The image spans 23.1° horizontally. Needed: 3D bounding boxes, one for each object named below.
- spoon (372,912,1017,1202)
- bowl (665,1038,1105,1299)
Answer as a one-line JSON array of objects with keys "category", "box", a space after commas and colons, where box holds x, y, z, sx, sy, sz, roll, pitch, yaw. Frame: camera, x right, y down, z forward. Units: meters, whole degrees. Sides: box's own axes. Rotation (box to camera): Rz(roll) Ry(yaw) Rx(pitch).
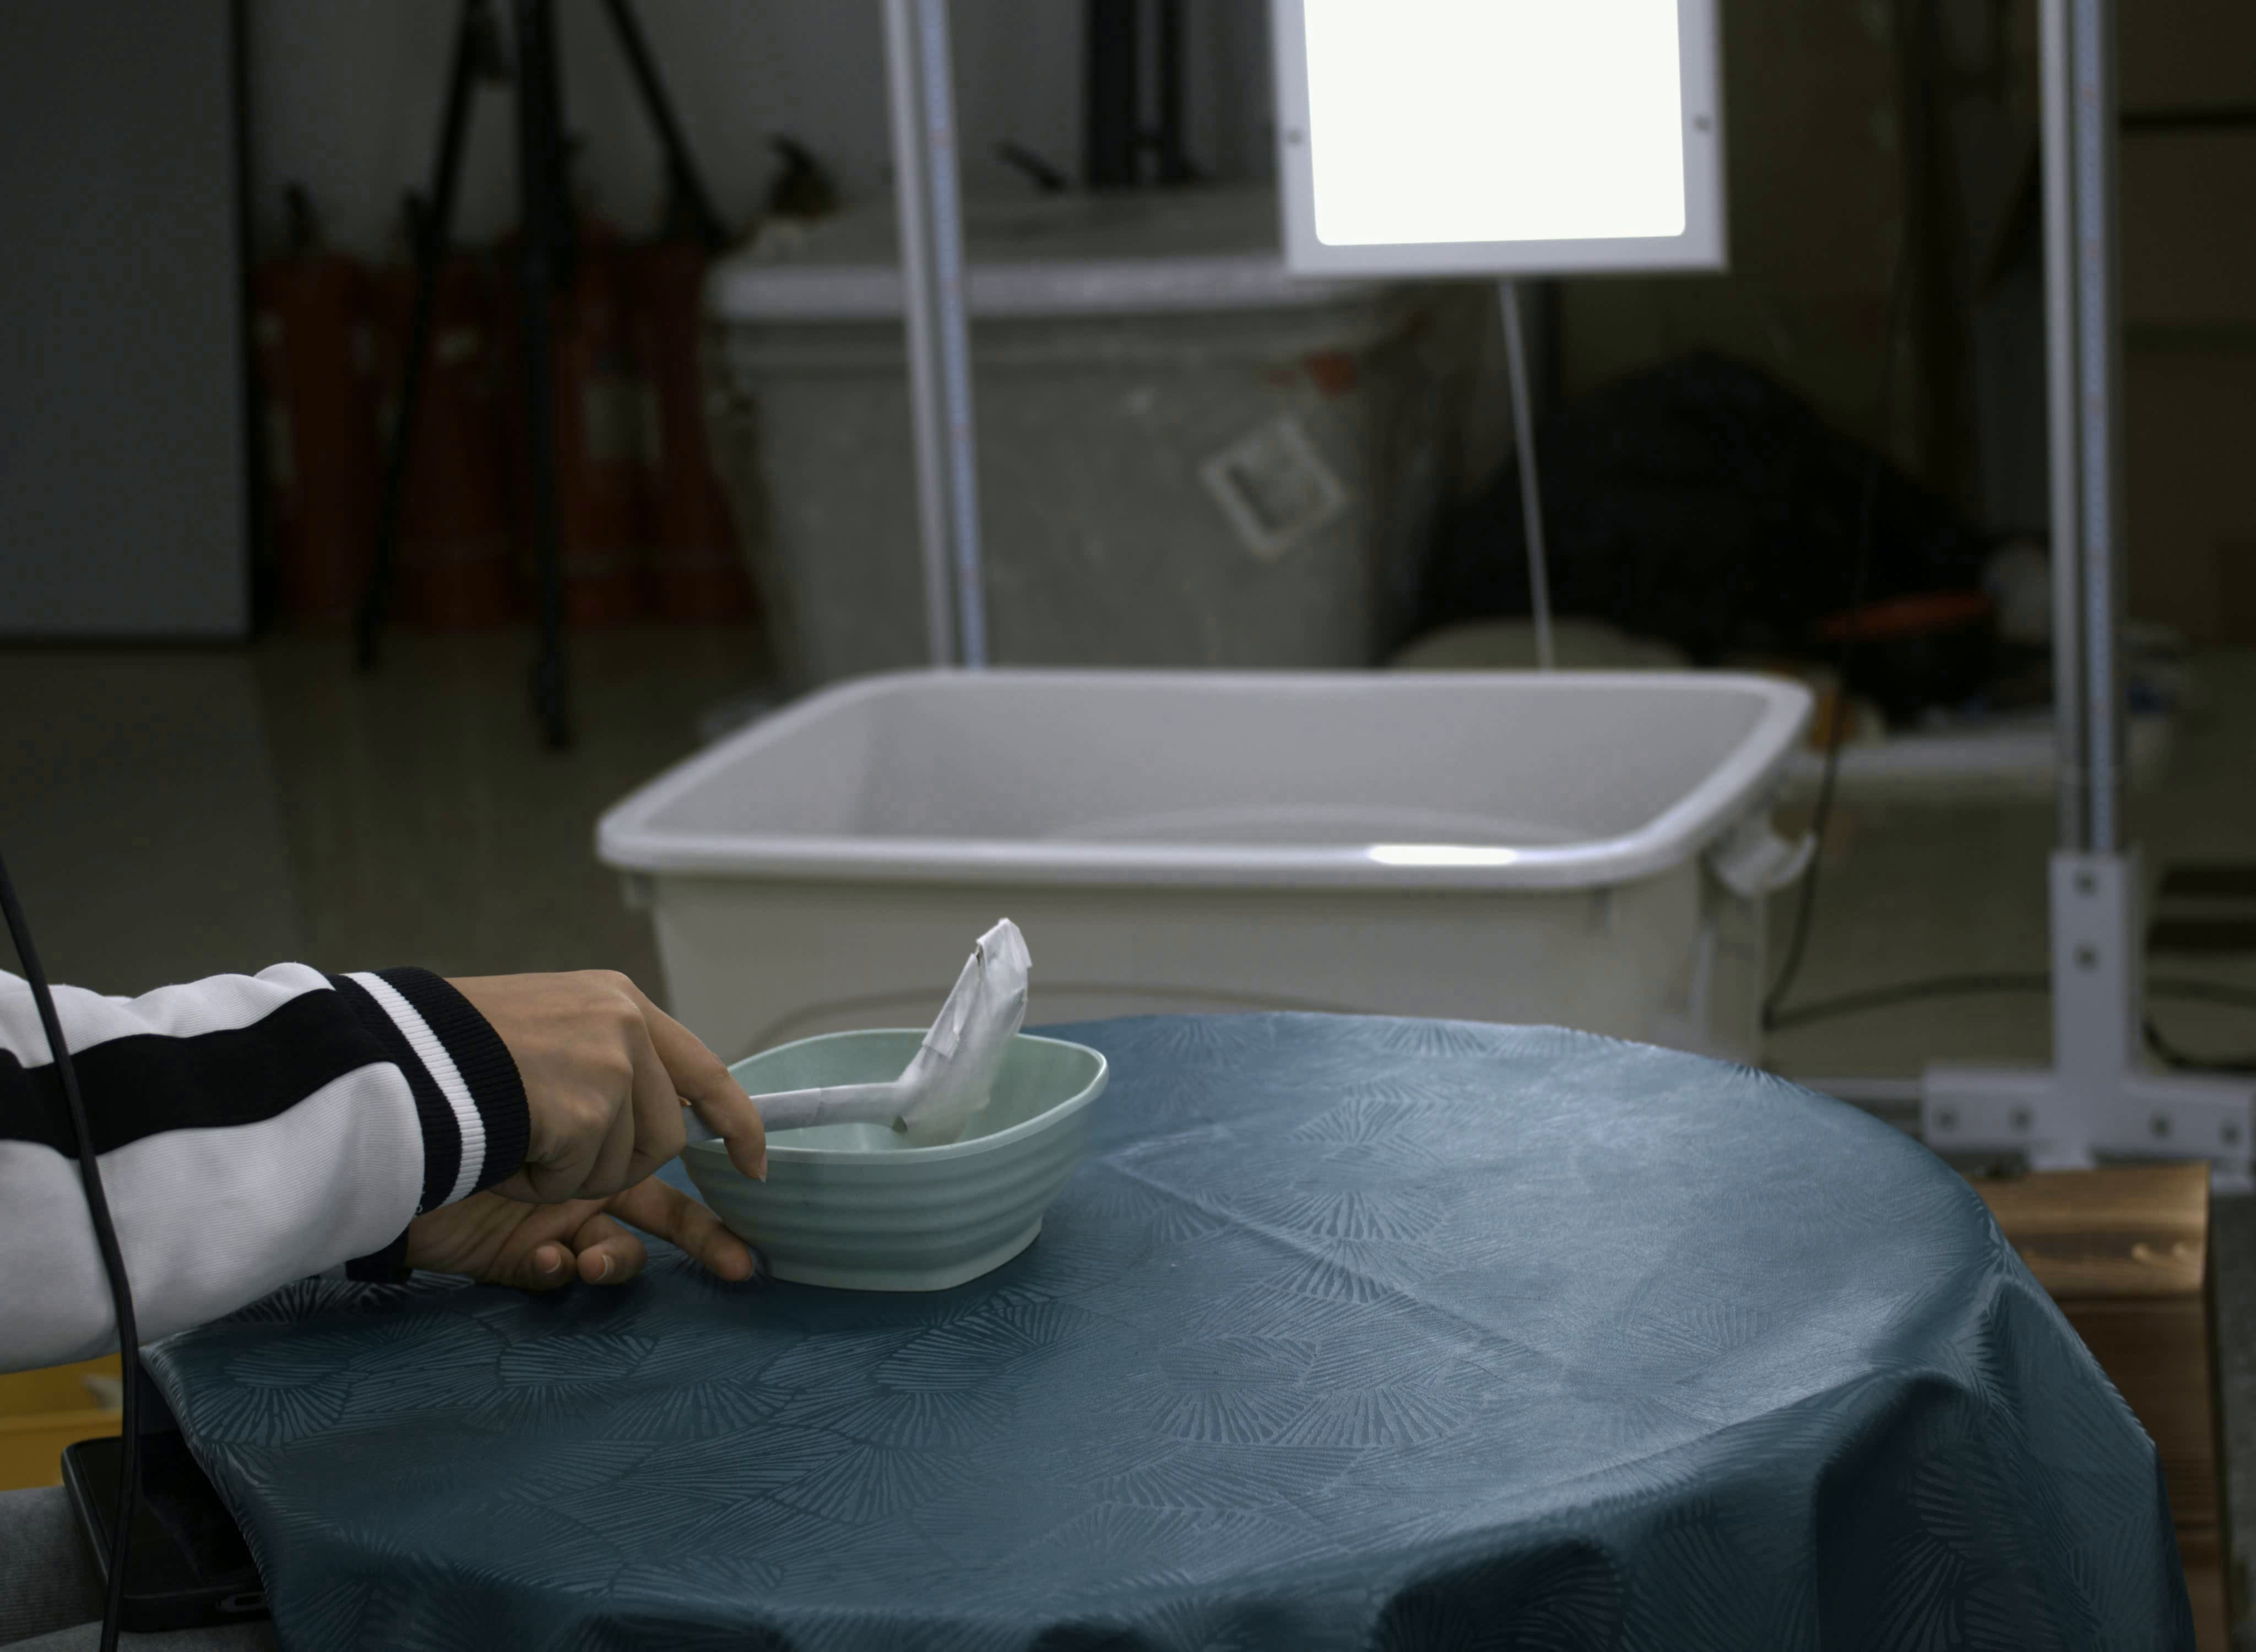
[{"category": "spoon", "box": [-0.138, 0.085, 1.775, 0.270, 0.102, 0.060, -7, 34, -37]}, {"category": "bowl", "box": [-0.079, 0.118, 1.851, 0.151, 0.059, 0.151, -4, 13, 0]}]
